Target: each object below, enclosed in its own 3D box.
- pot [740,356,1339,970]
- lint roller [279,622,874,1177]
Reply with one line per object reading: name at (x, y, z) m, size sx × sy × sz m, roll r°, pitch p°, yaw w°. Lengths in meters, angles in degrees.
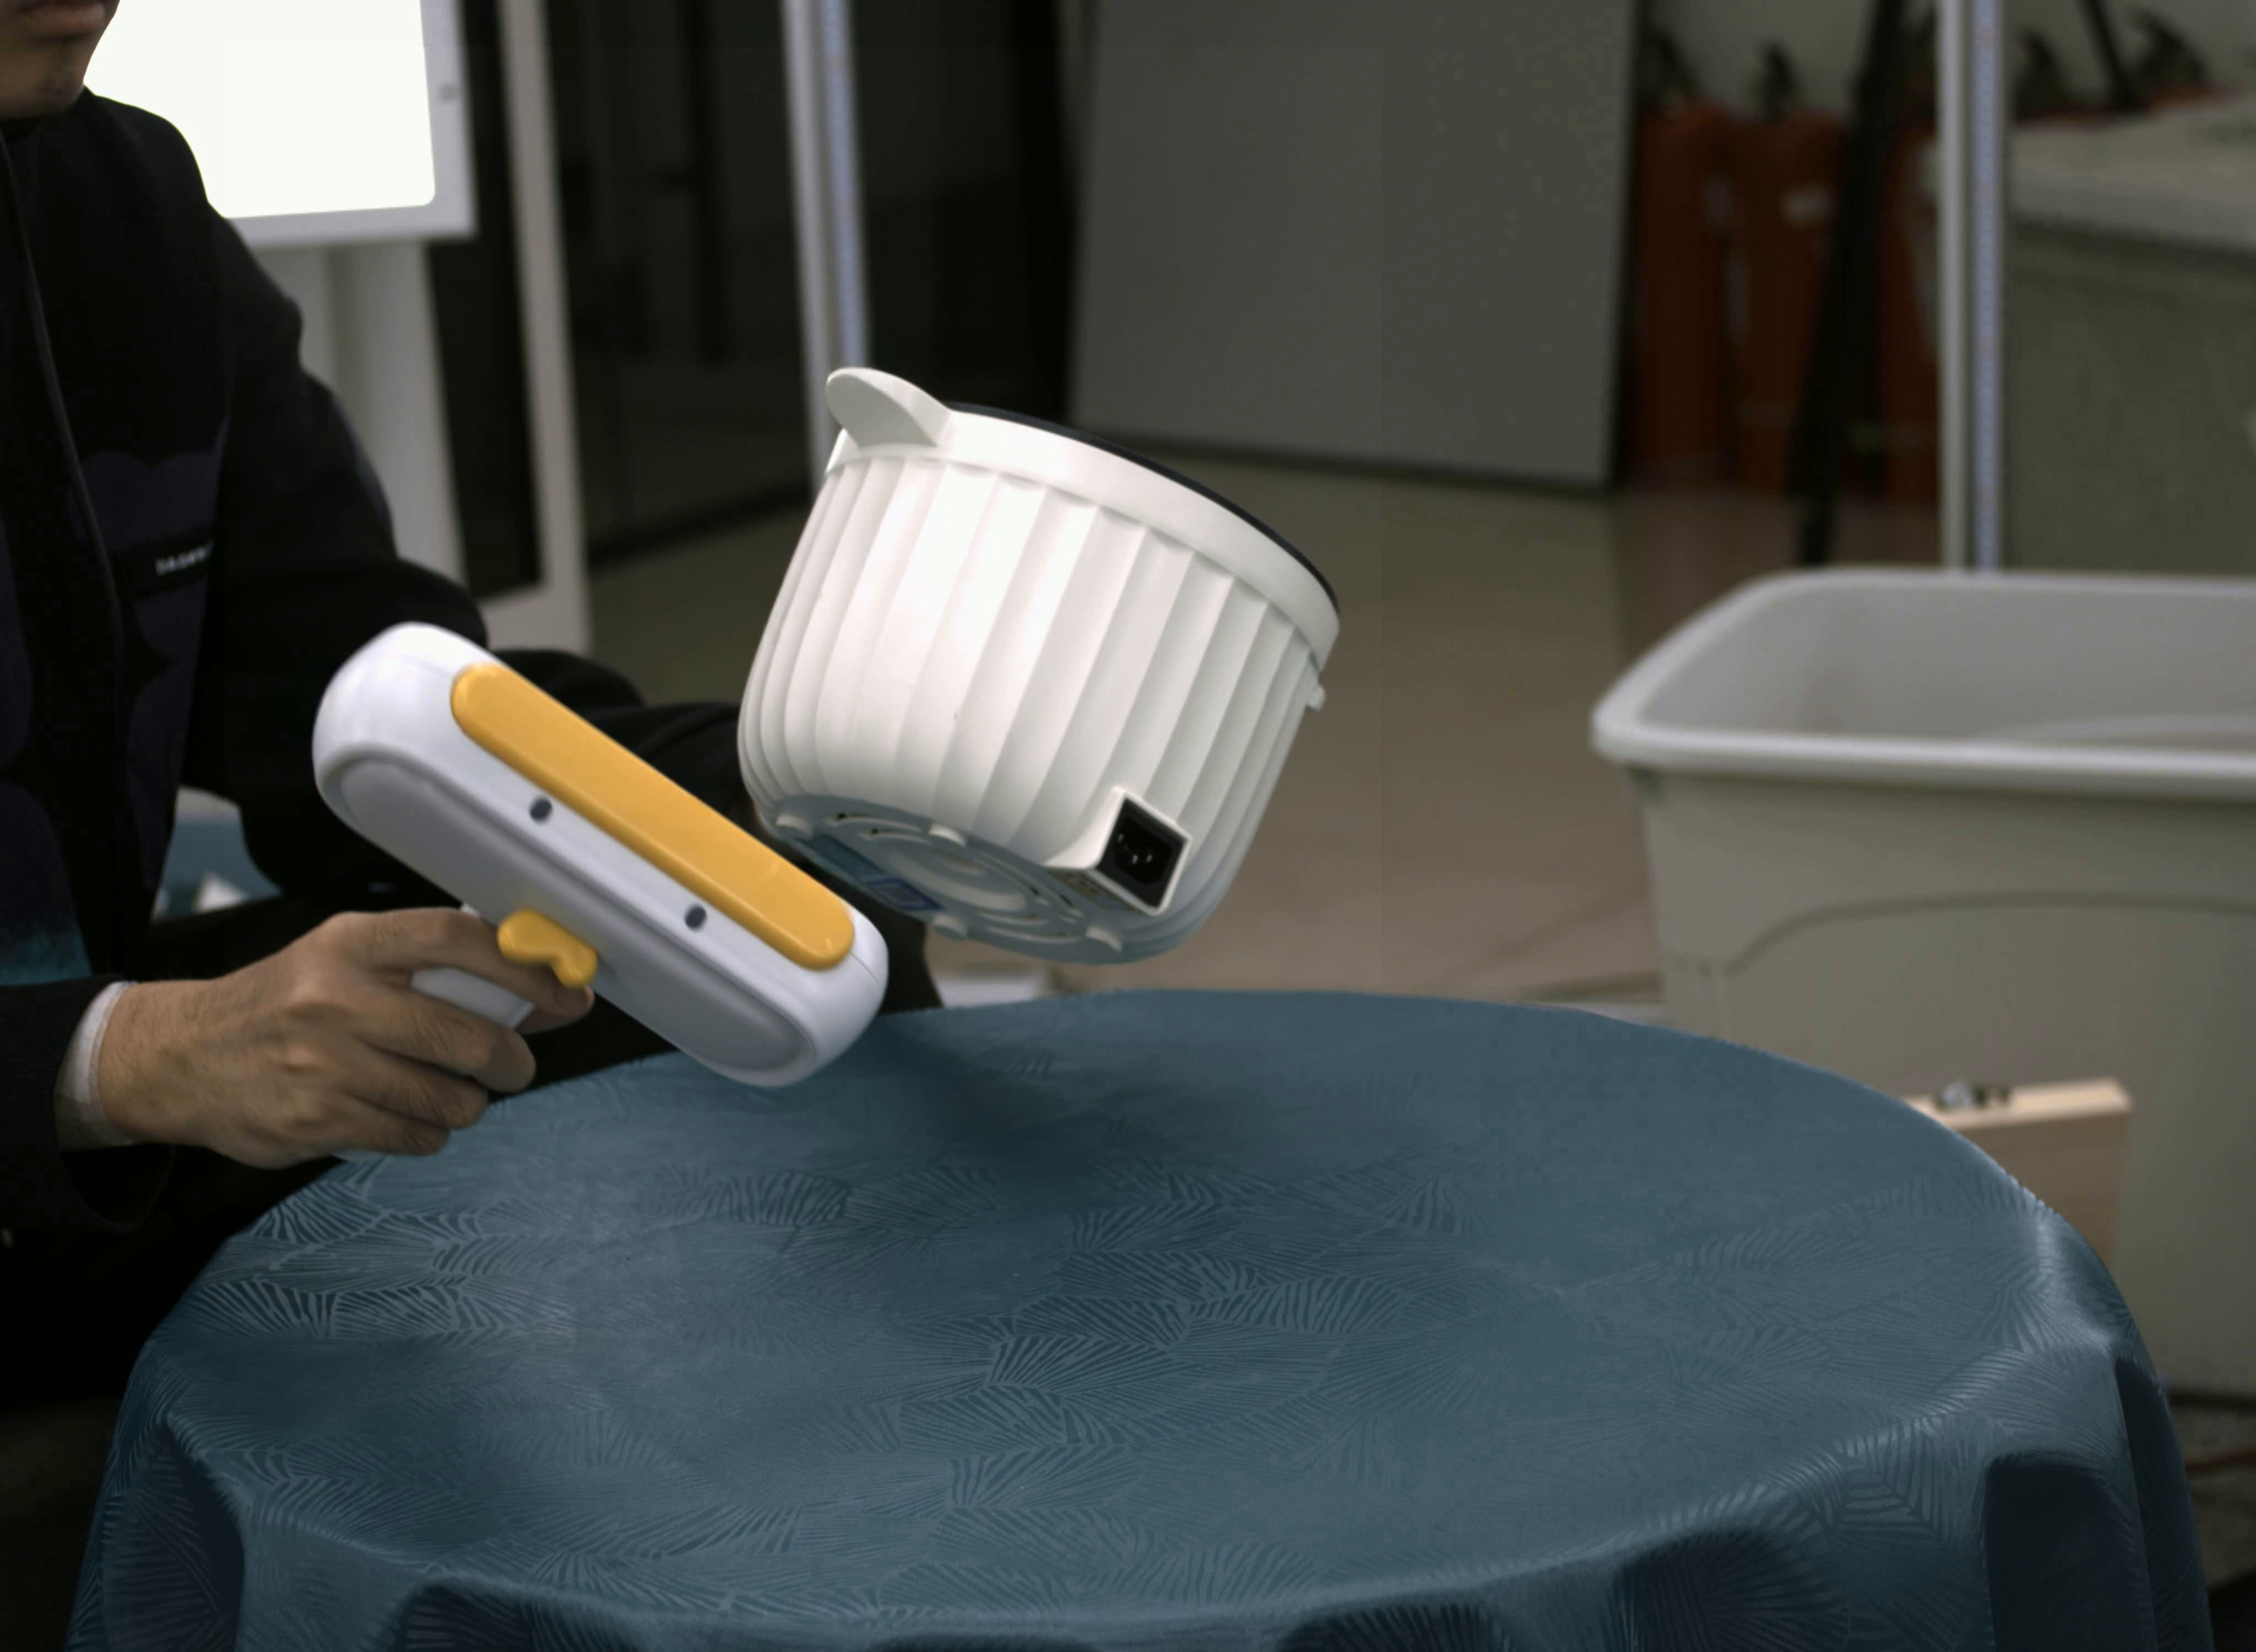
pot at (-0.040, -0.041, 1.801) m, size 0.192 × 0.143 × 0.236 m, roll 6°, pitch -24°, yaw 49°
lint roller at (-0.194, 0.041, 1.652) m, size 0.190 × 0.194 × 0.074 m, roll 29°, pitch 49°, yaw -17°
